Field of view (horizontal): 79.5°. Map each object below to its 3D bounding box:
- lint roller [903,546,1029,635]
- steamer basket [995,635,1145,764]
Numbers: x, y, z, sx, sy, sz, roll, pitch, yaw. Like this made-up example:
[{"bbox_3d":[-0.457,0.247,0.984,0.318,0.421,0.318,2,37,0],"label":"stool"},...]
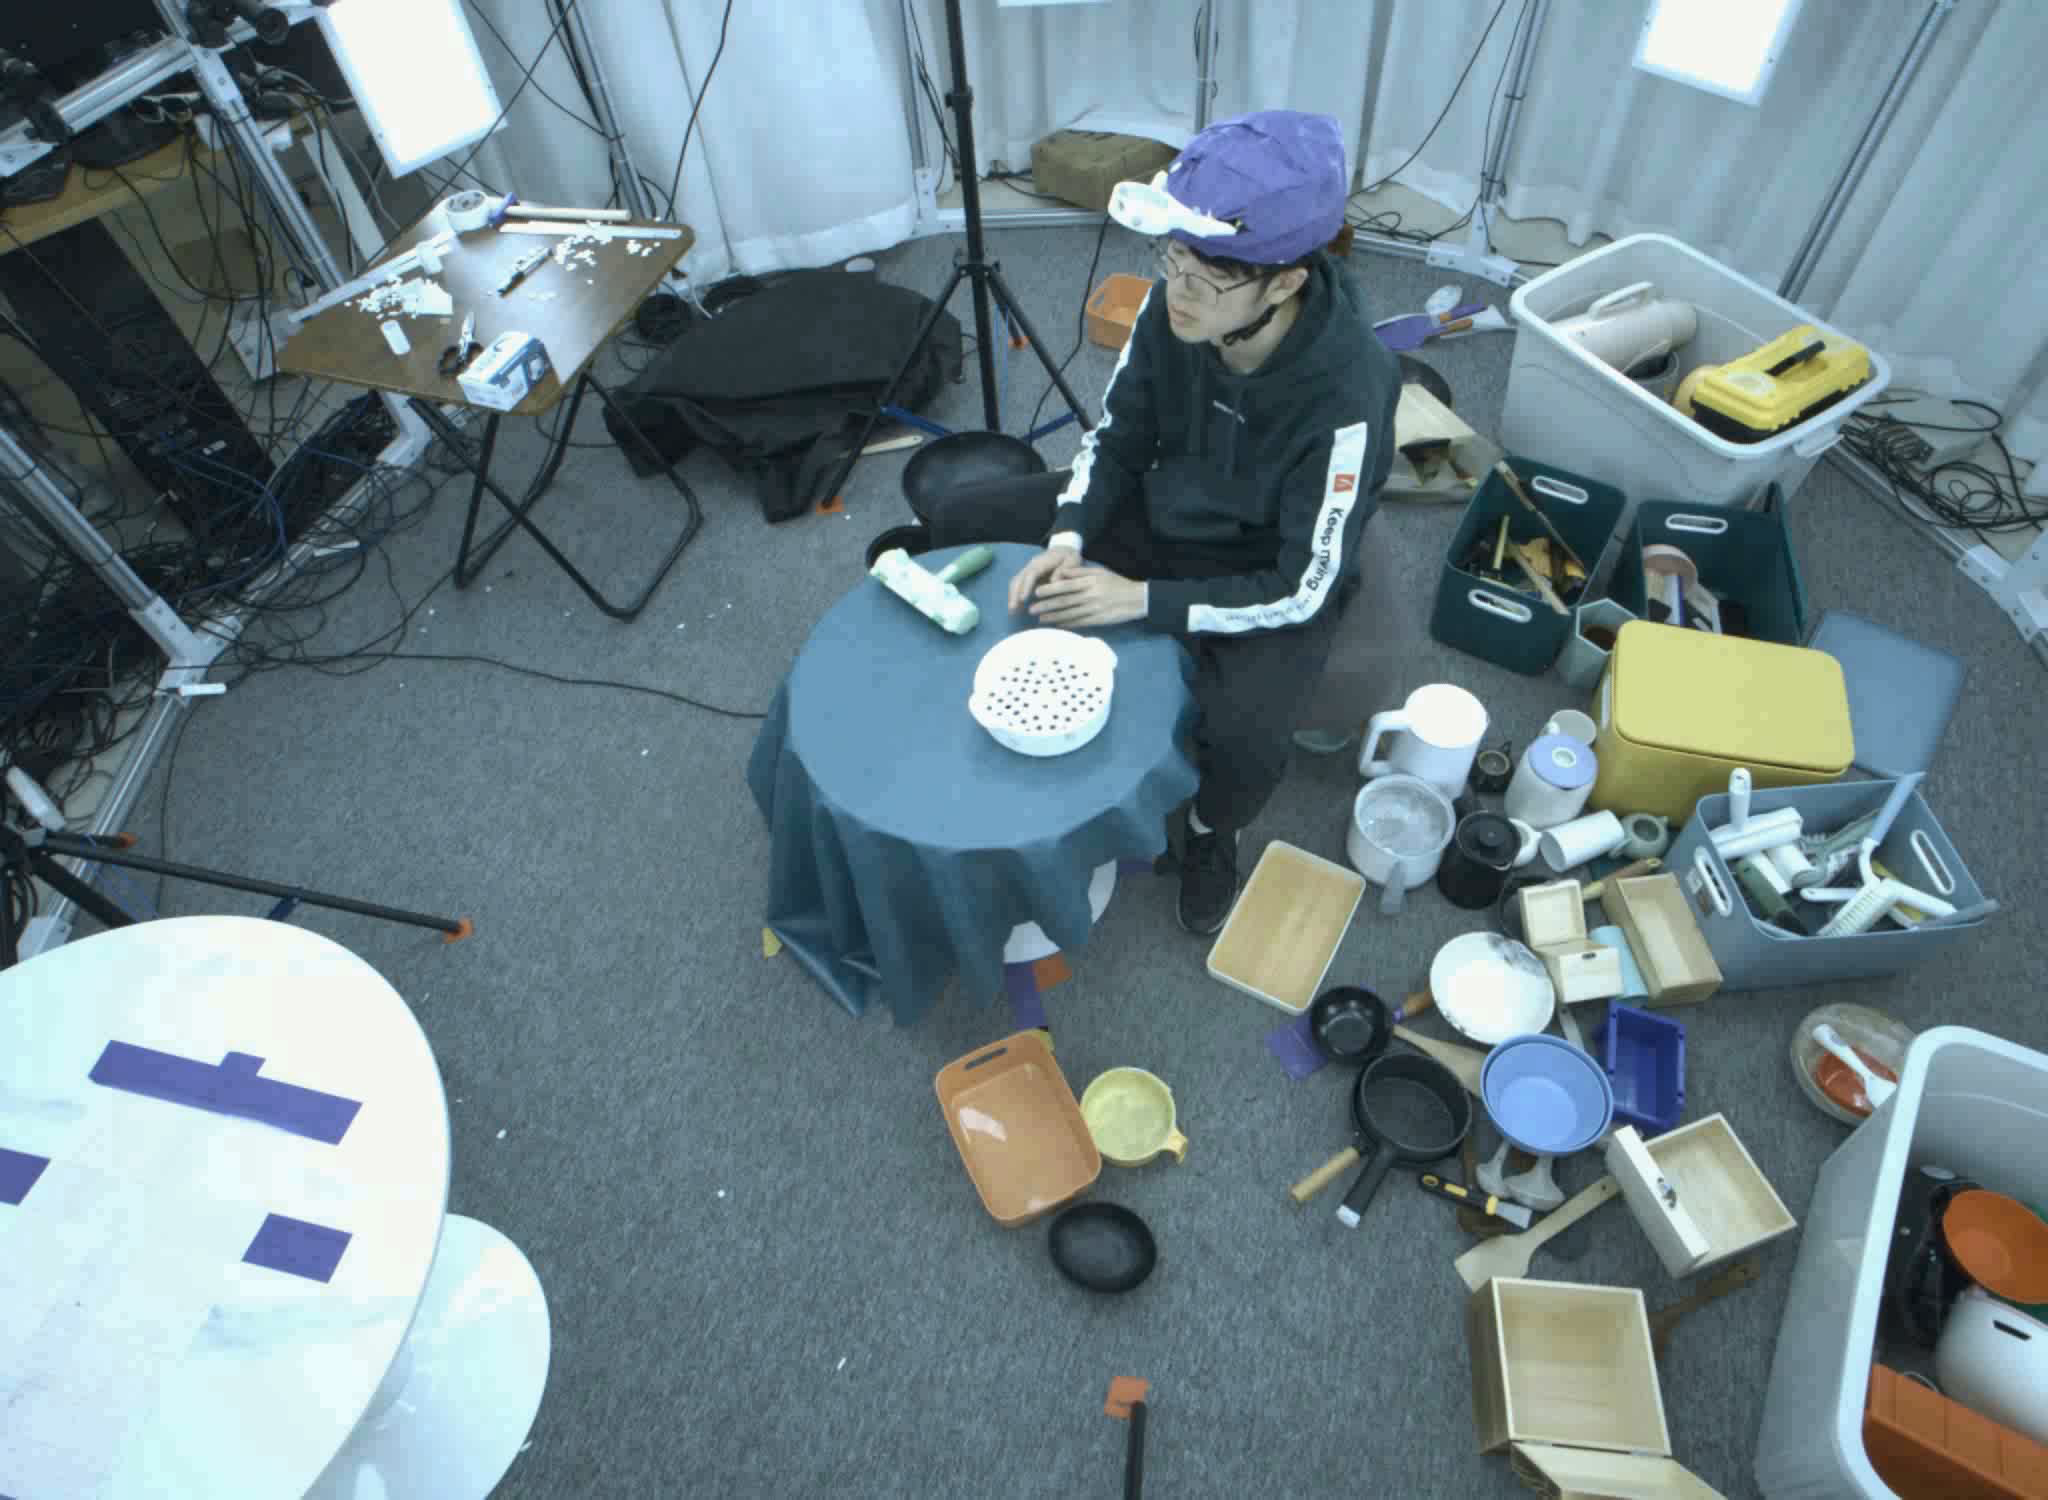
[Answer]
[{"bbox_3d":[-0.066,-0.288,1.942,0.184,0.083,0.195,-41,62,-19],"label":"lint roller"},{"bbox_3d":[0.069,-0.072,1.790,0.232,0.070,0.198,-27,57,-14],"label":"steamer basket"}]
